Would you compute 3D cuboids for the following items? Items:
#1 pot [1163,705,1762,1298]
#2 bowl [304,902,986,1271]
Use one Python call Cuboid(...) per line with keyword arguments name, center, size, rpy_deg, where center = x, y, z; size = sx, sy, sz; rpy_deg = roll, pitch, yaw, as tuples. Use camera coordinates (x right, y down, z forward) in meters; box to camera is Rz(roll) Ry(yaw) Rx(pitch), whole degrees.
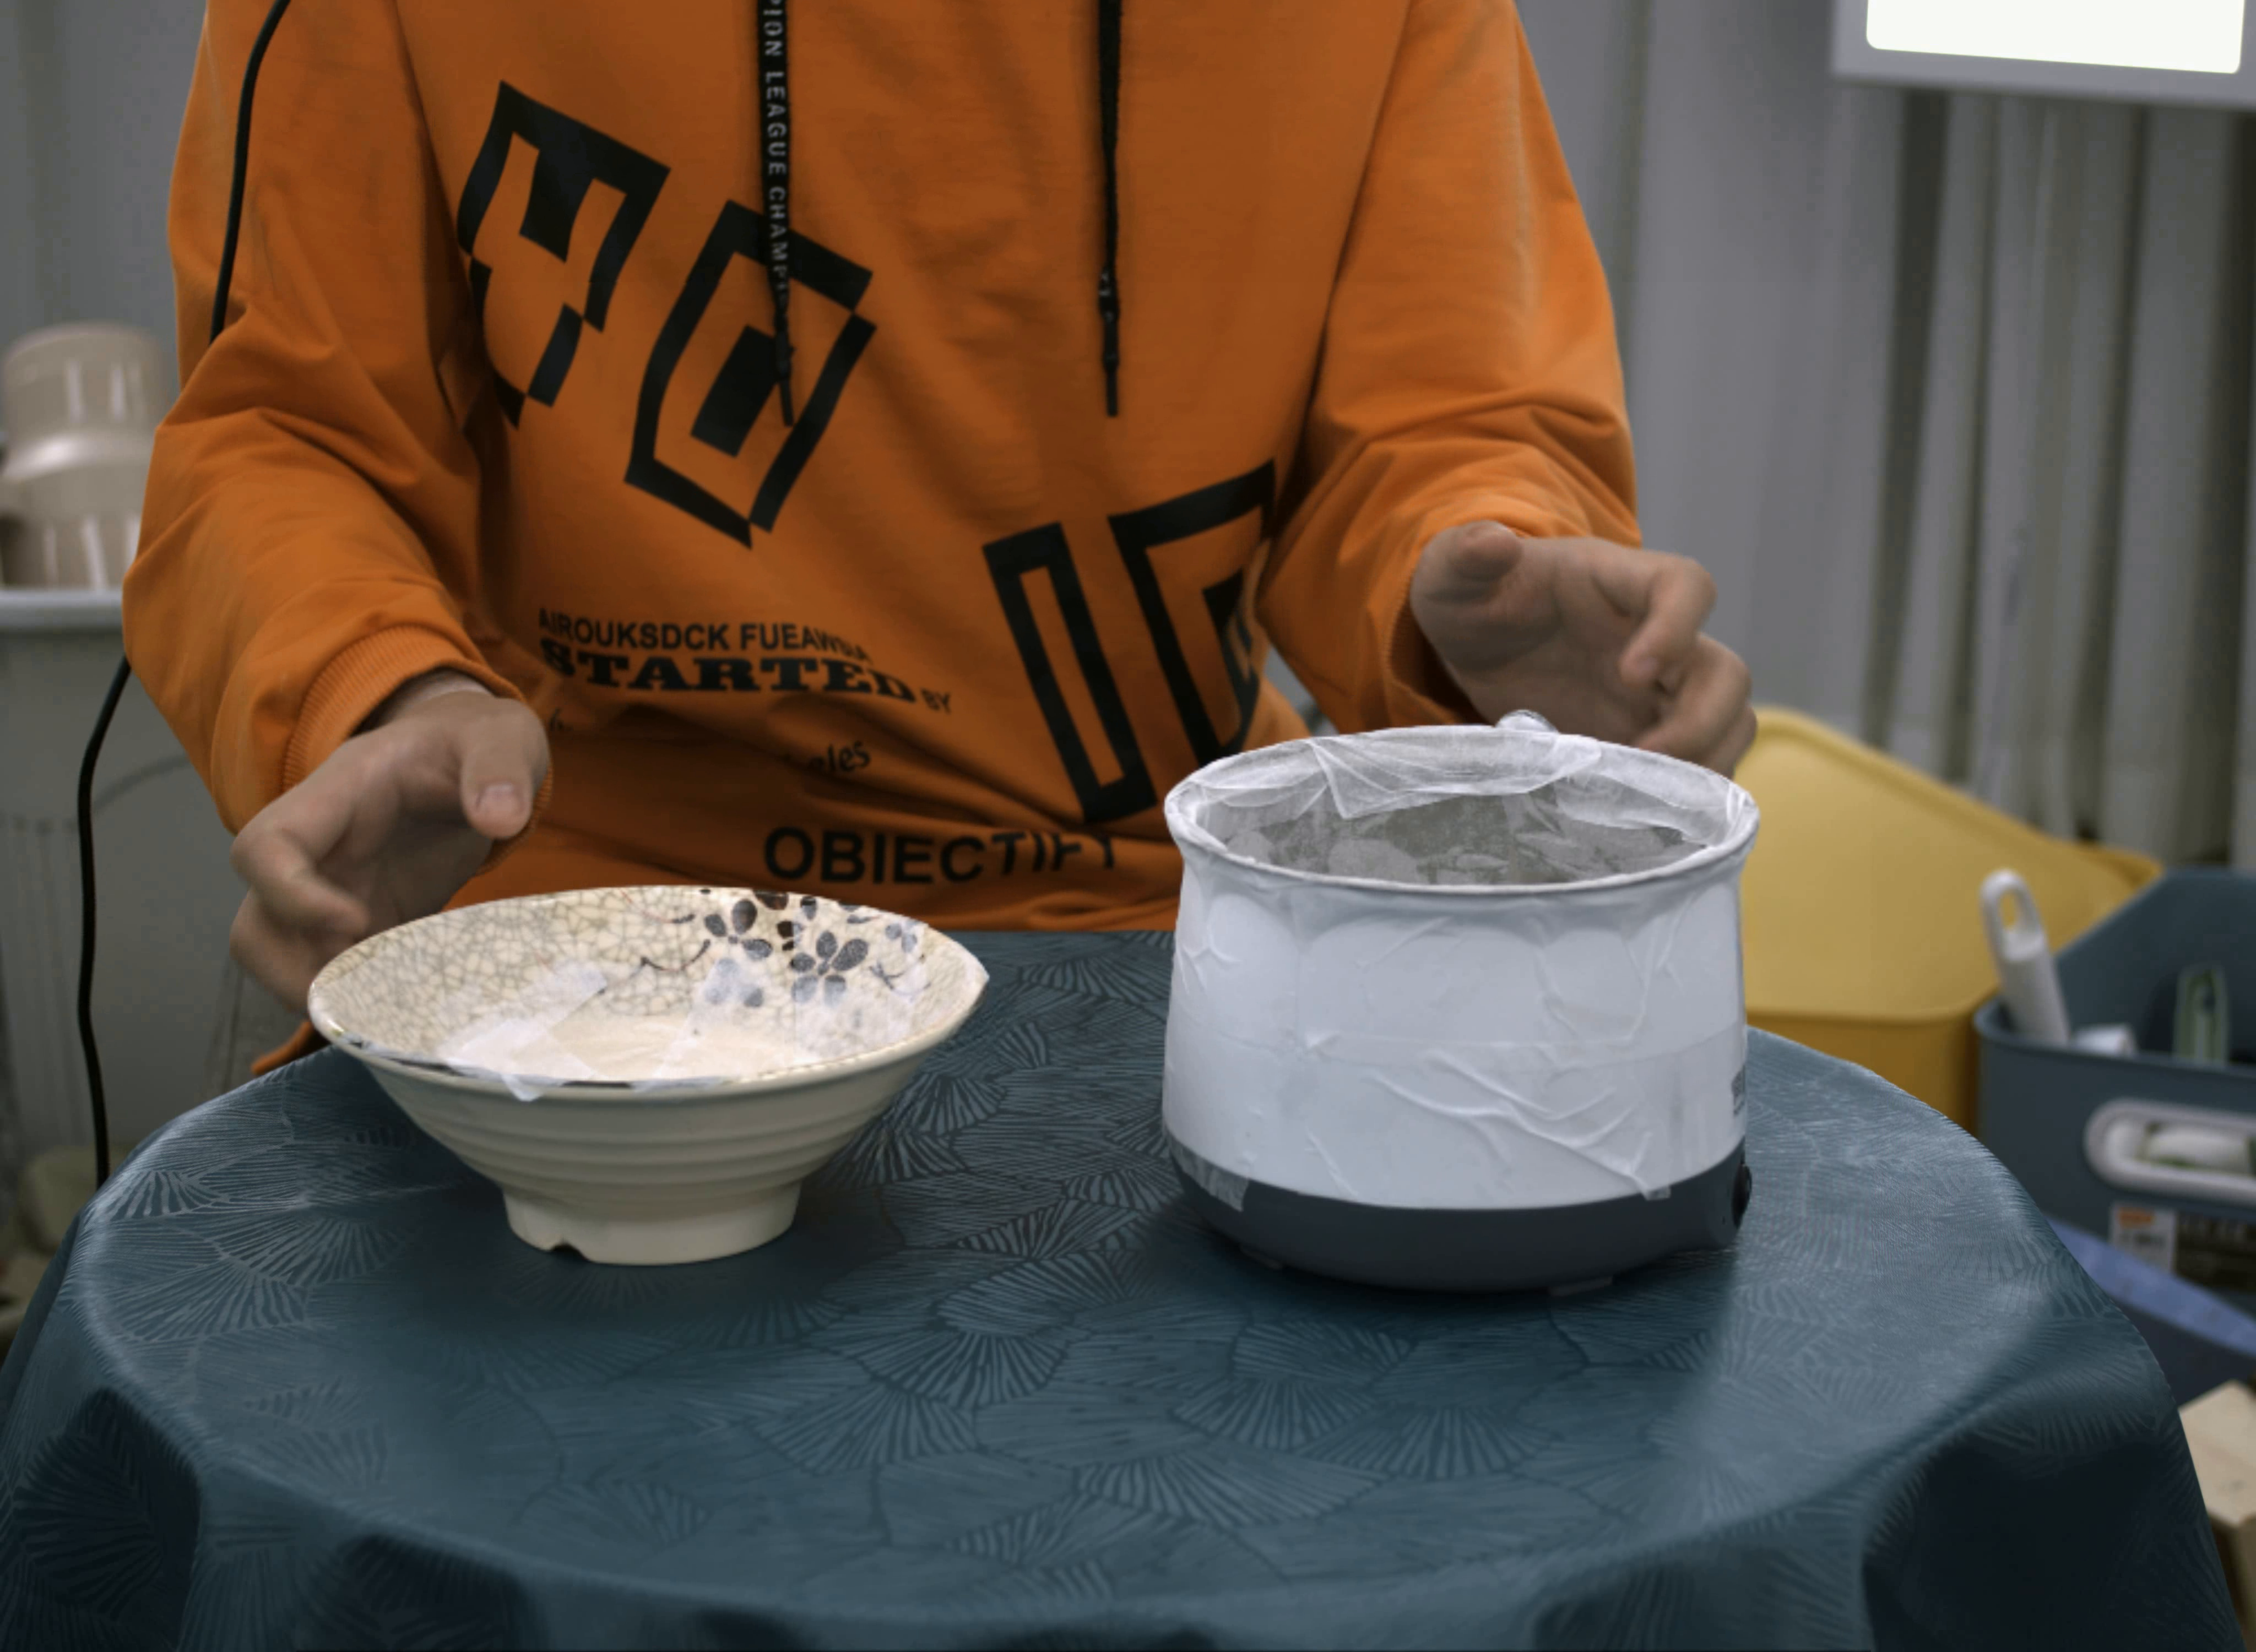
Cuboid(name="pot", center=(0.105, 0.047, 1.603), size=(0.177, 0.138, 0.233), rpy_deg=(5, 17, 12))
Cuboid(name="bowl", center=(-0.144, 0.084, 1.583), size=(0.203, 0.078, 0.203), rpy_deg=(0, 13, 1))
